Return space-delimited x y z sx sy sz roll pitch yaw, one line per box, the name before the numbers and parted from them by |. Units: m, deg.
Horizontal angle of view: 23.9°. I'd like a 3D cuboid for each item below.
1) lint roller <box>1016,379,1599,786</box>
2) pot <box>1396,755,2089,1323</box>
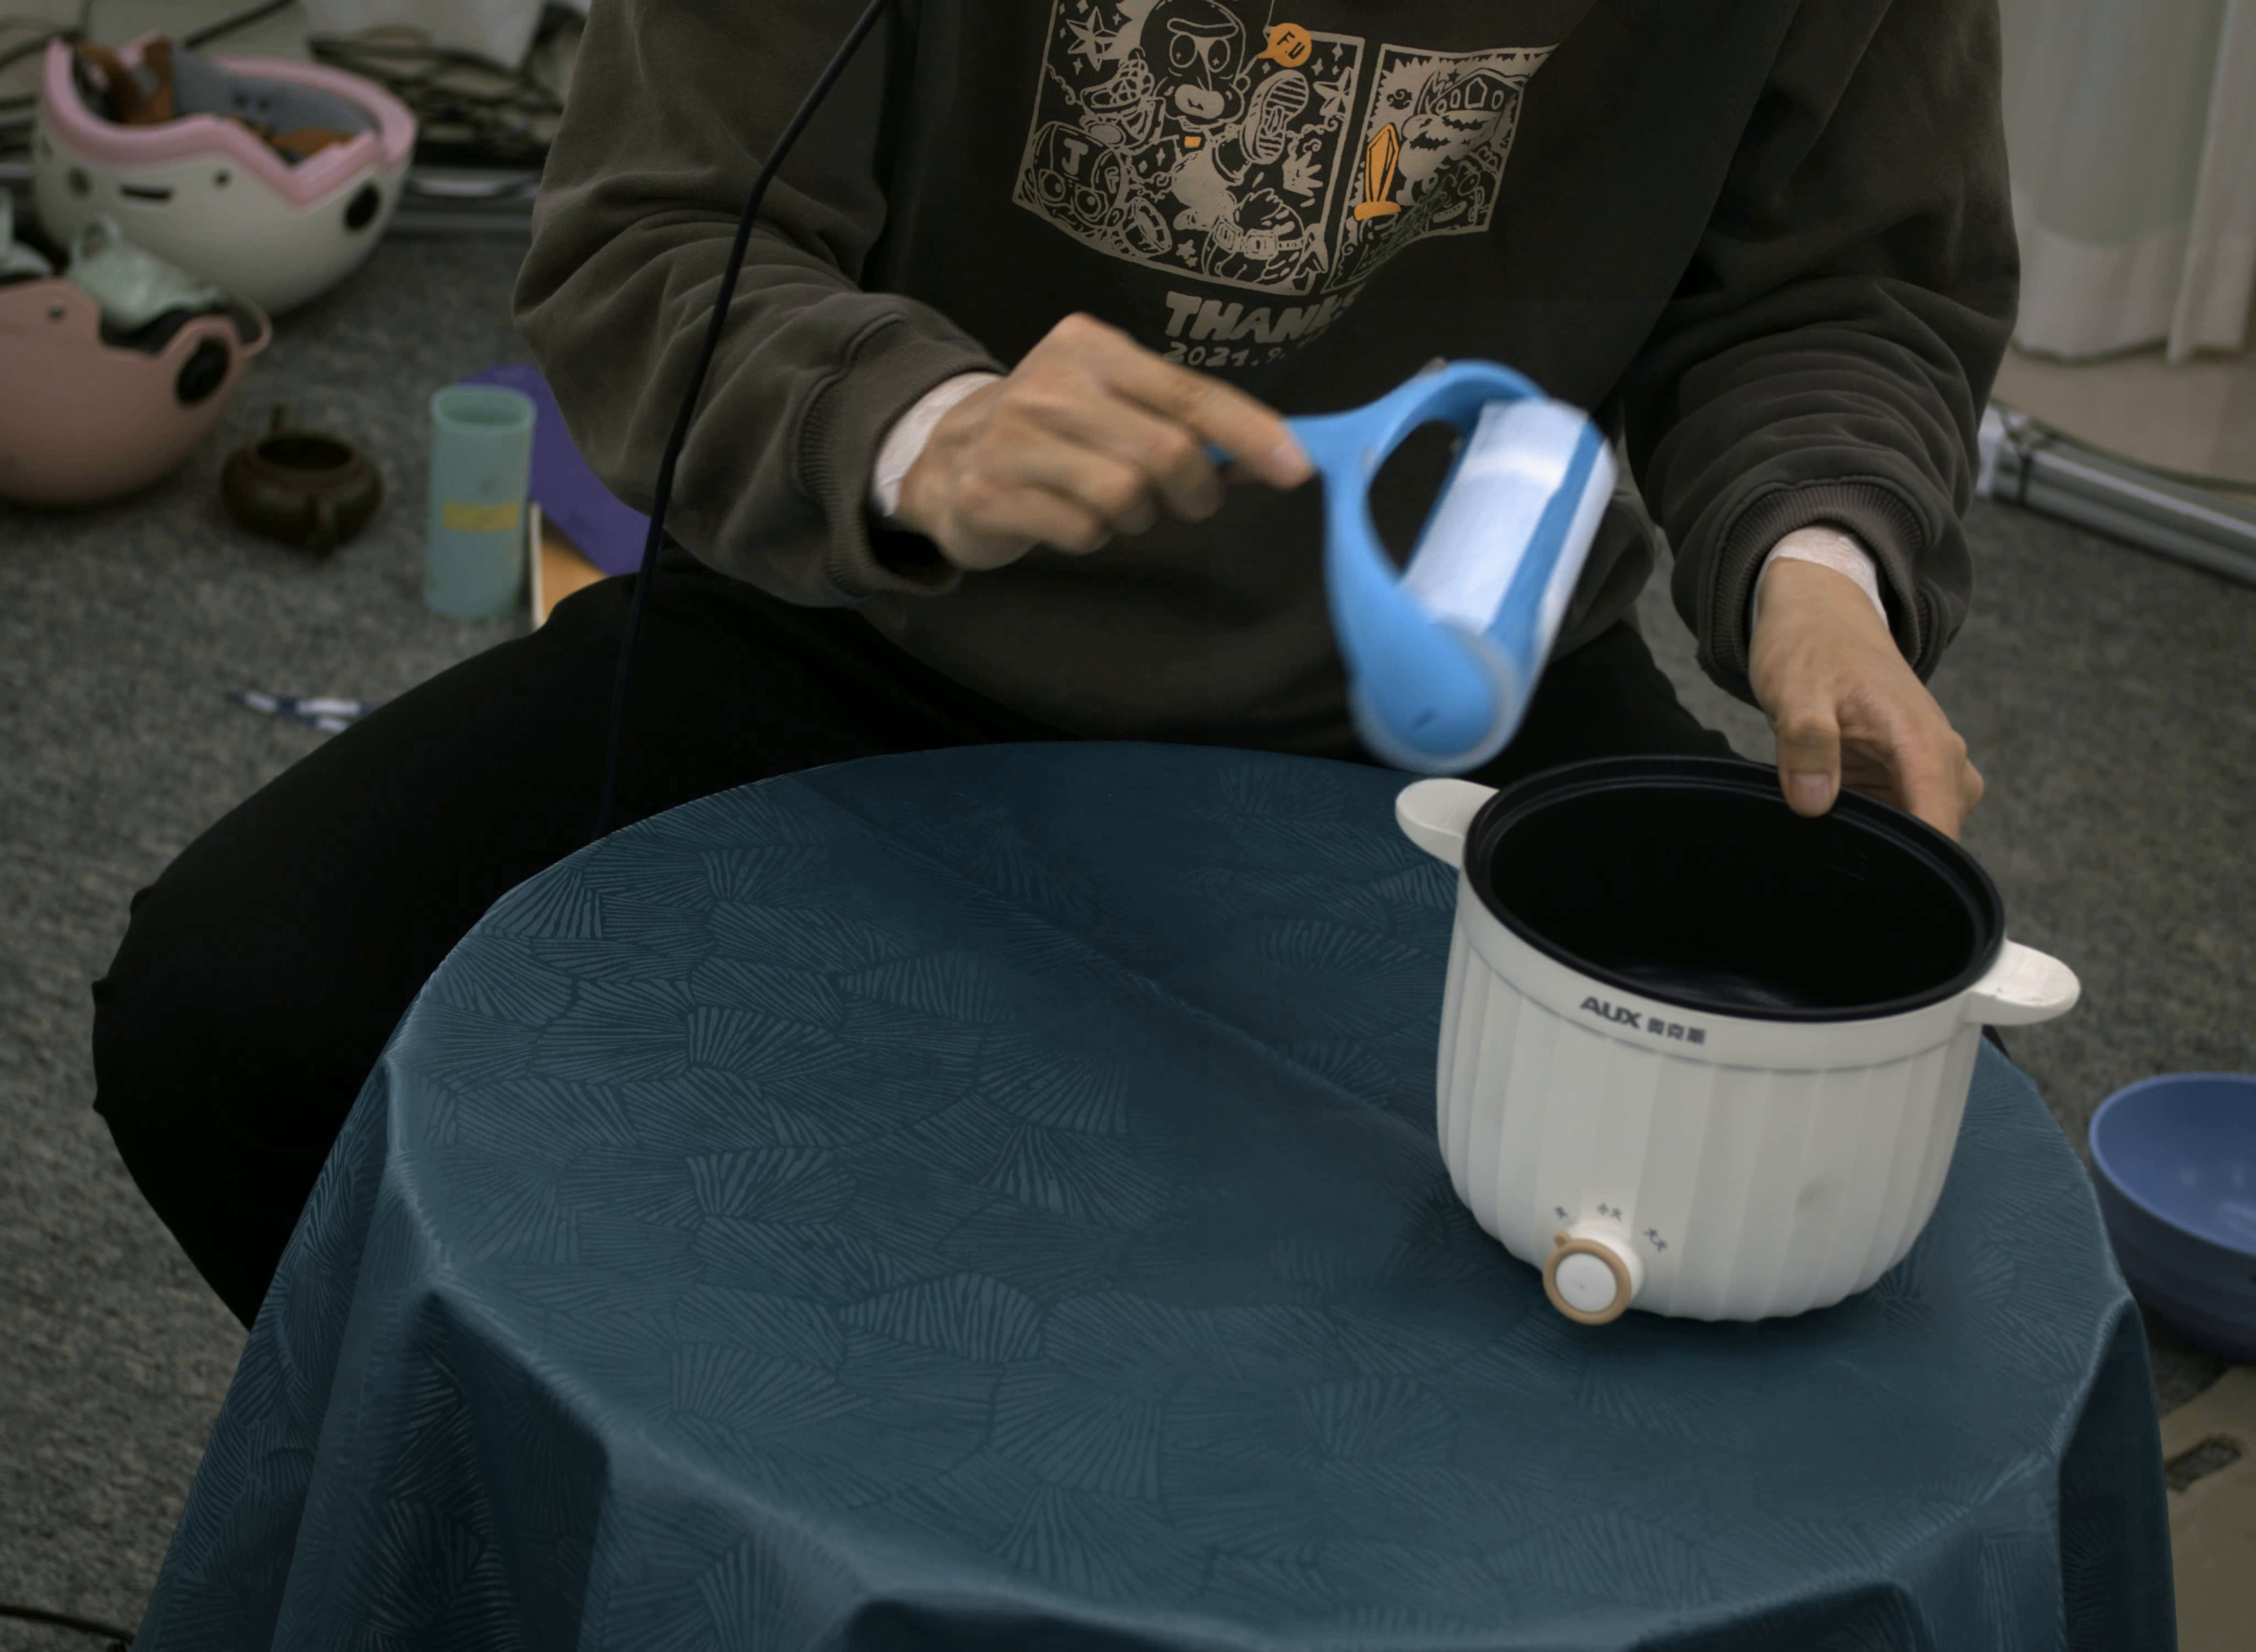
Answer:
lint roller | 0.054 -0.095 1.727 0.180 0.068 0.229 18 29 5
pot | 0.193 0.078 1.784 0.241 0.142 0.190 15 24 20
